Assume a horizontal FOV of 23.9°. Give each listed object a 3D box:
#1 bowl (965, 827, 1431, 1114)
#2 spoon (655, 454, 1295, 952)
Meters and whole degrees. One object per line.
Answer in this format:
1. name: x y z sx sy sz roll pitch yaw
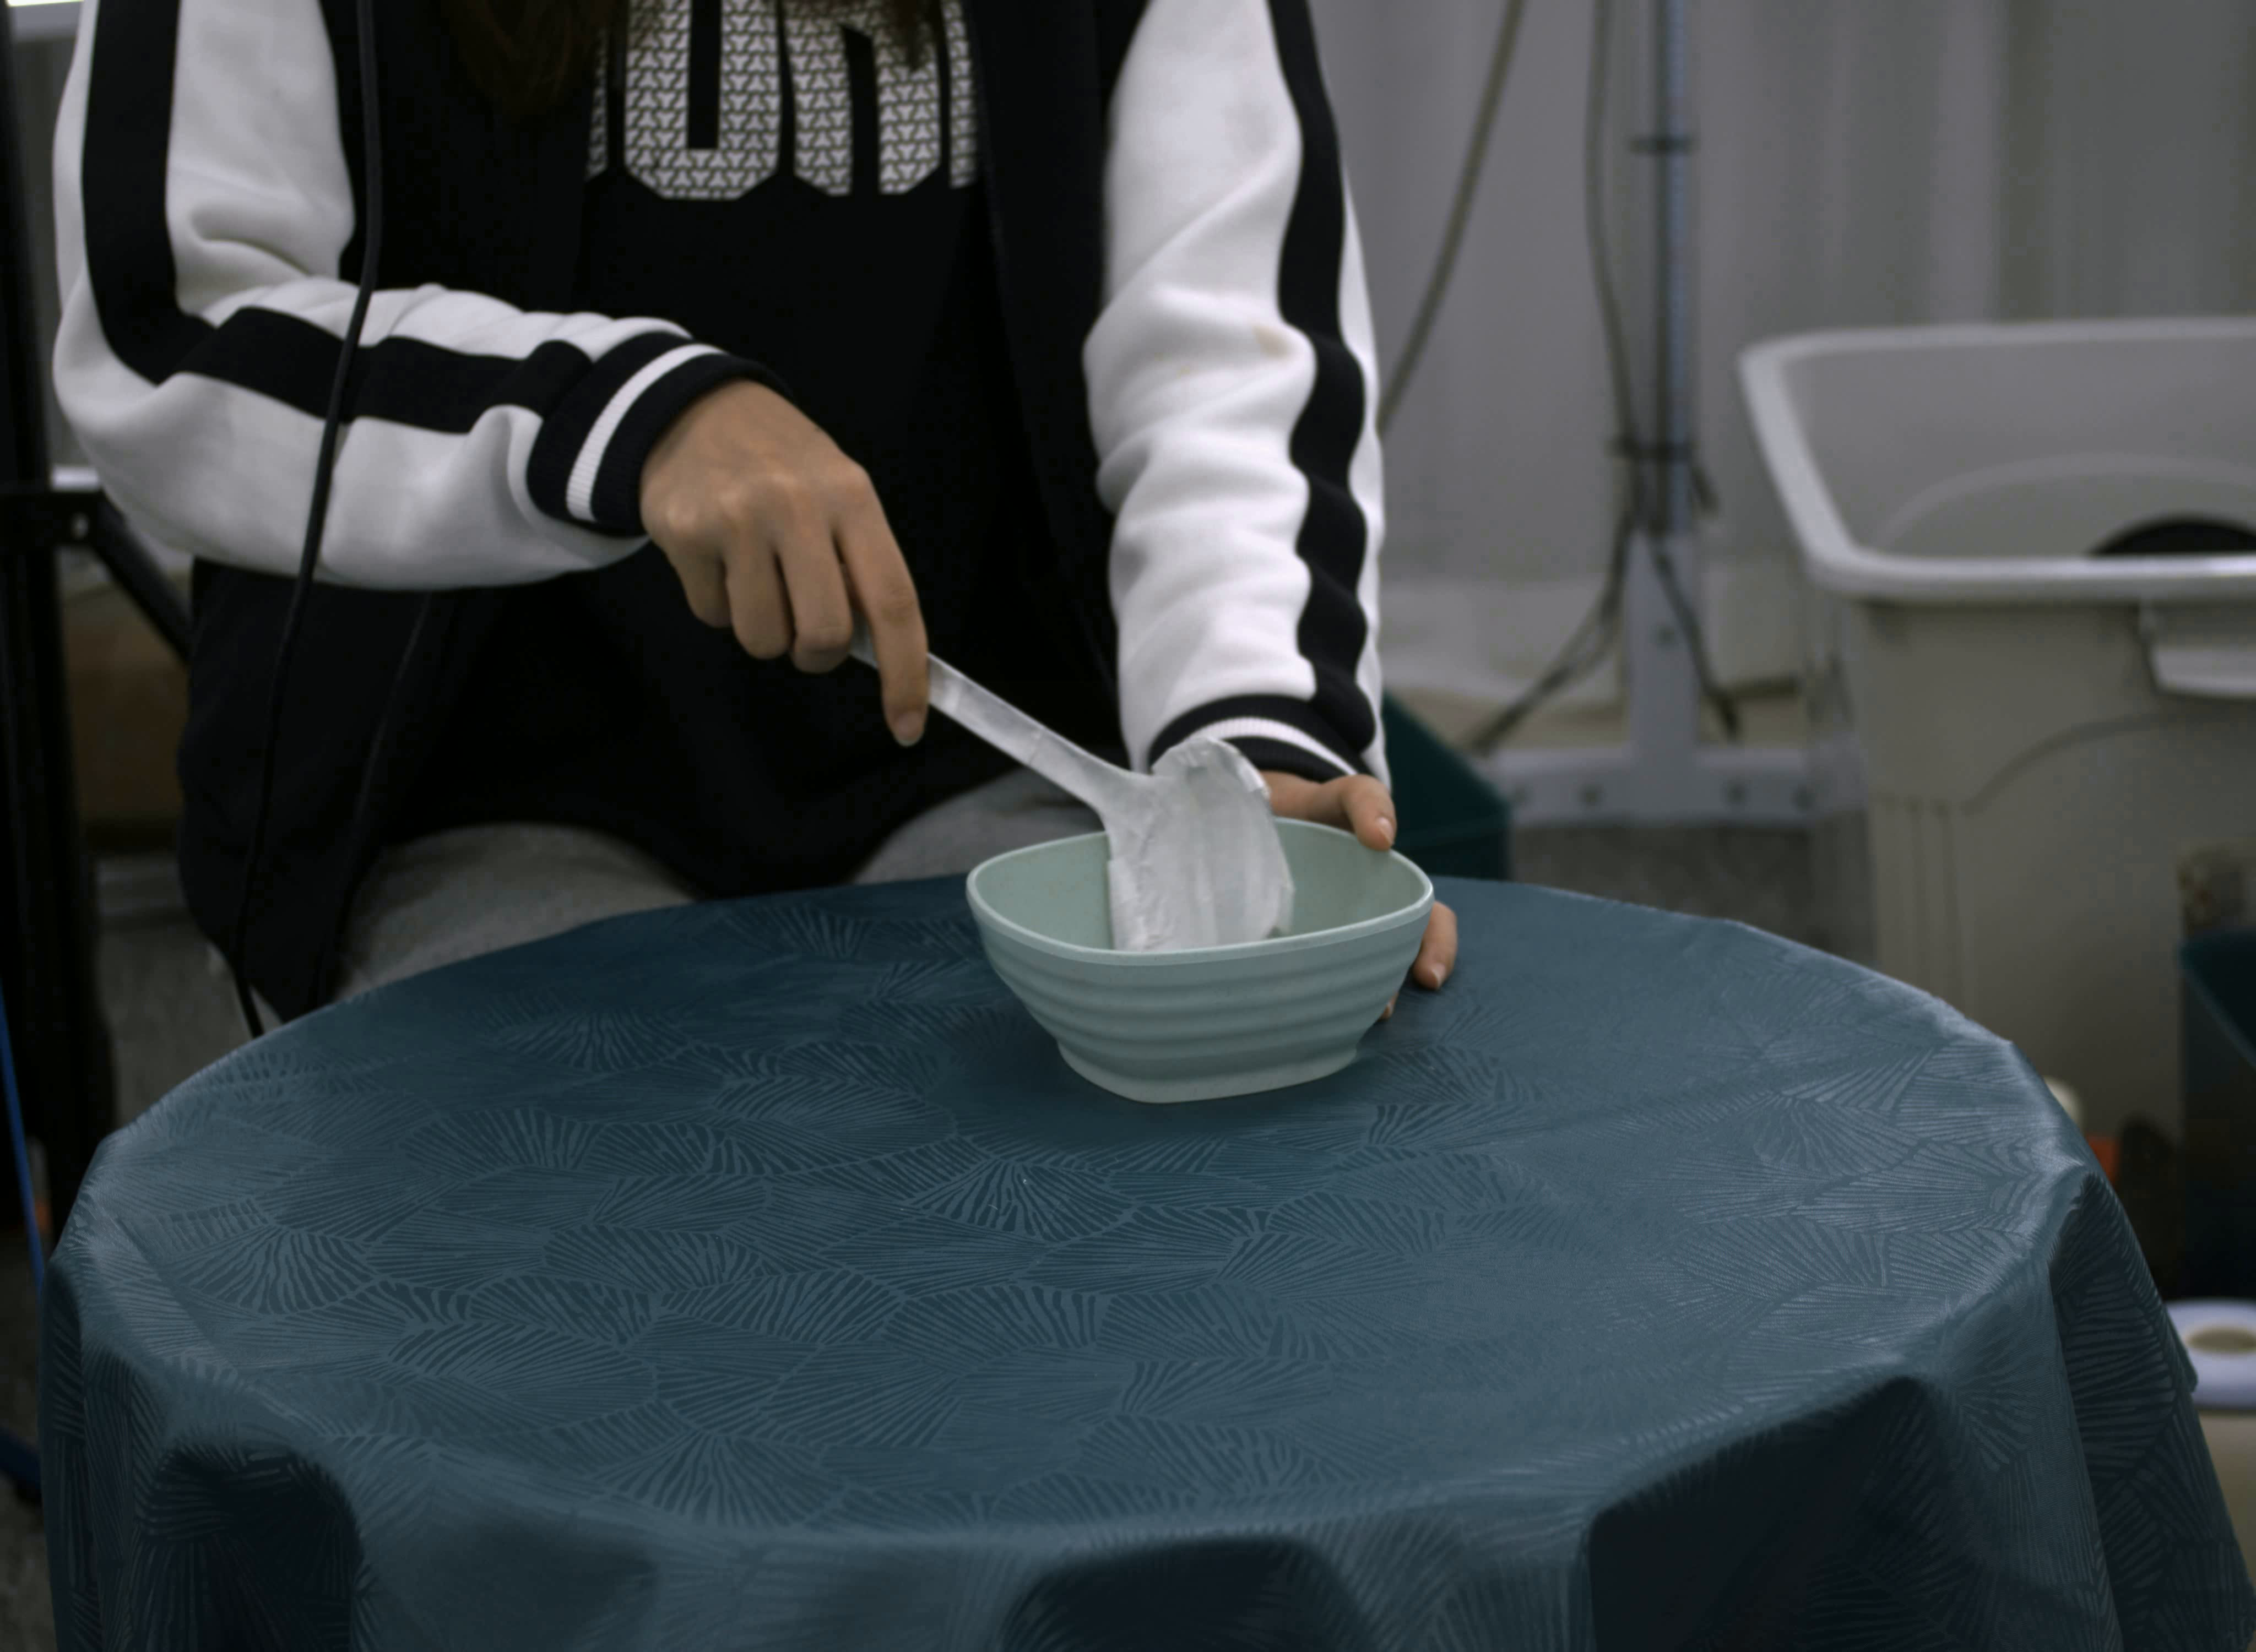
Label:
1. bowl: 0.022 0.048 1.672 0.150 0.058 0.152 -2 16 -1
2. spoon: -0.054 -0.041 1.708 0.280 0.101 0.058 35 22 16
